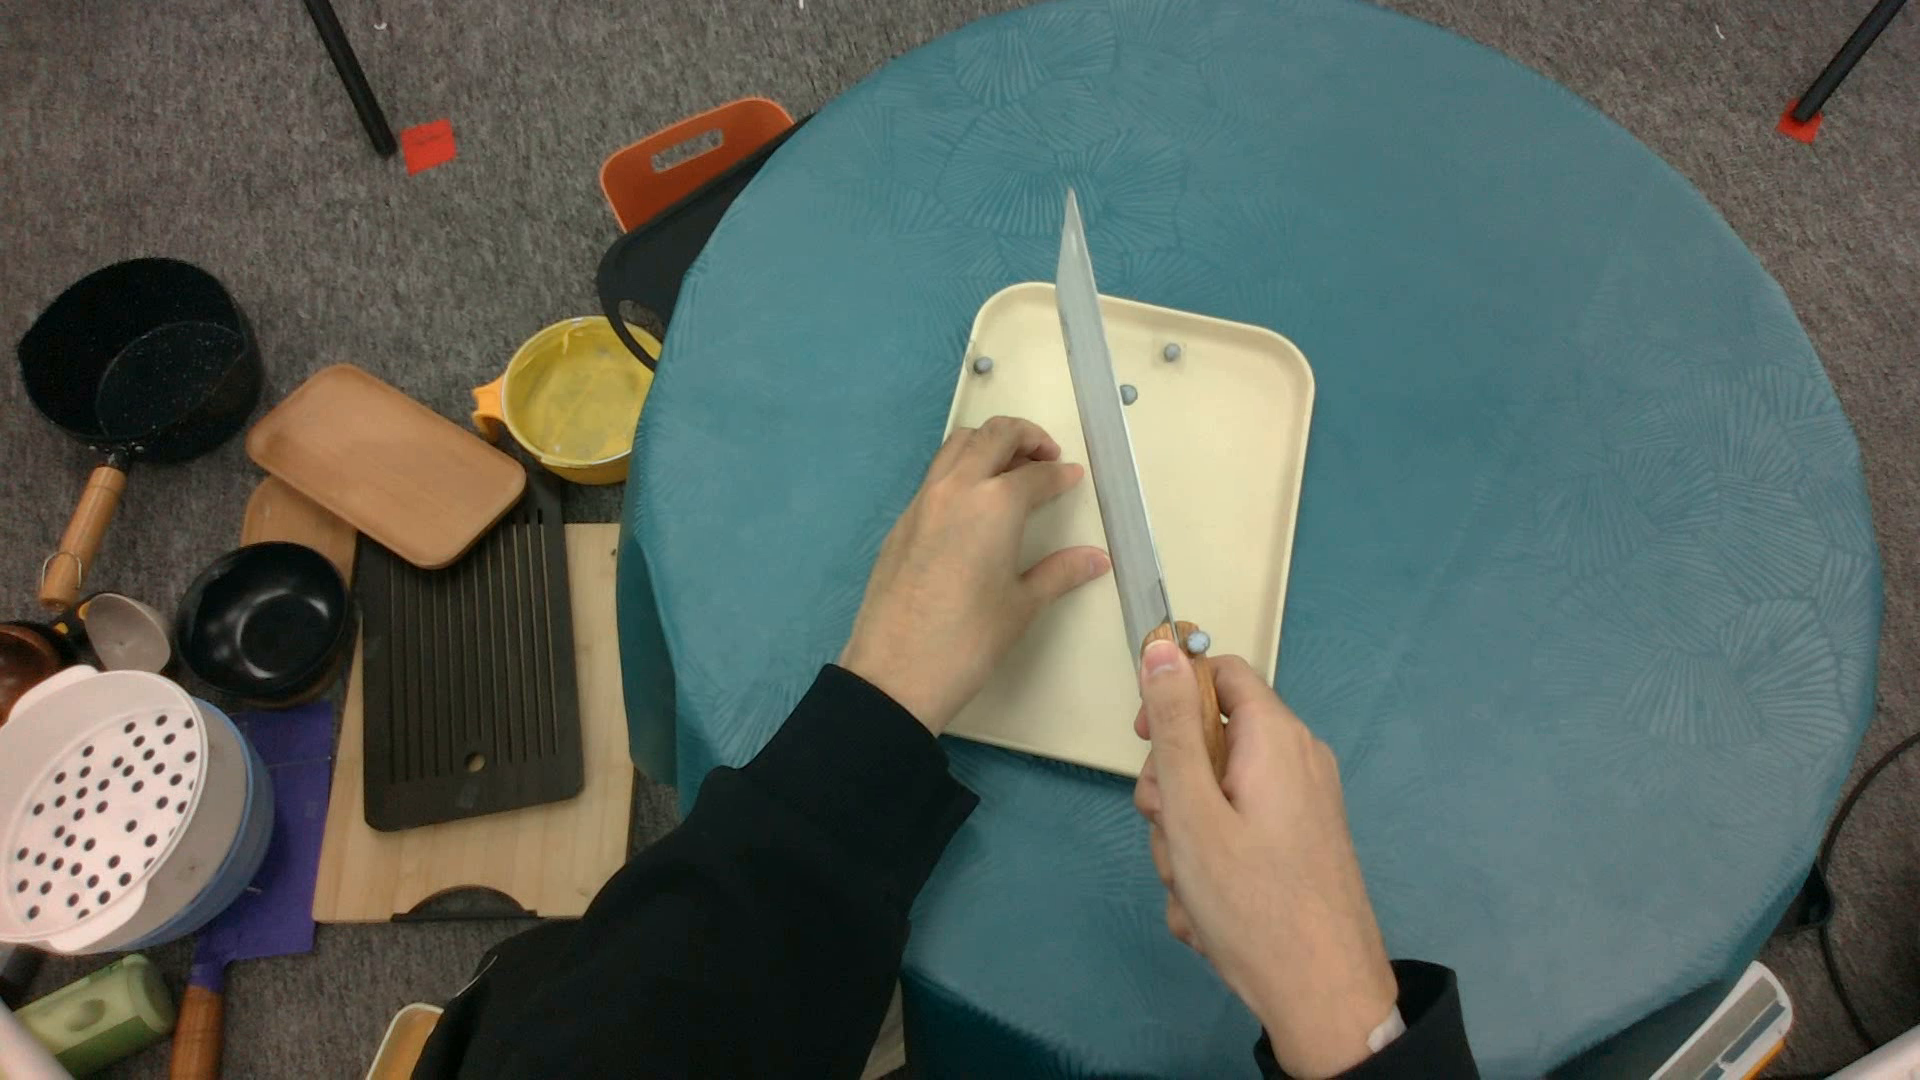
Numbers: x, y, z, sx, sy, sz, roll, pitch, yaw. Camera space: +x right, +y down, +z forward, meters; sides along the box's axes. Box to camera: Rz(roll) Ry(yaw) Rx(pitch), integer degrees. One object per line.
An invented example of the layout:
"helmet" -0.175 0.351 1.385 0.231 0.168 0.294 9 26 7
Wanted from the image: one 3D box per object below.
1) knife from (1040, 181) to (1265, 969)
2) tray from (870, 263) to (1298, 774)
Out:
"knife" 0.065 0.010 0.535 0.021 0.092 0.306 -9 71 -5
"tray" 0.062 -0.016 0.643 0.171 0.017 0.240 14 66 2
